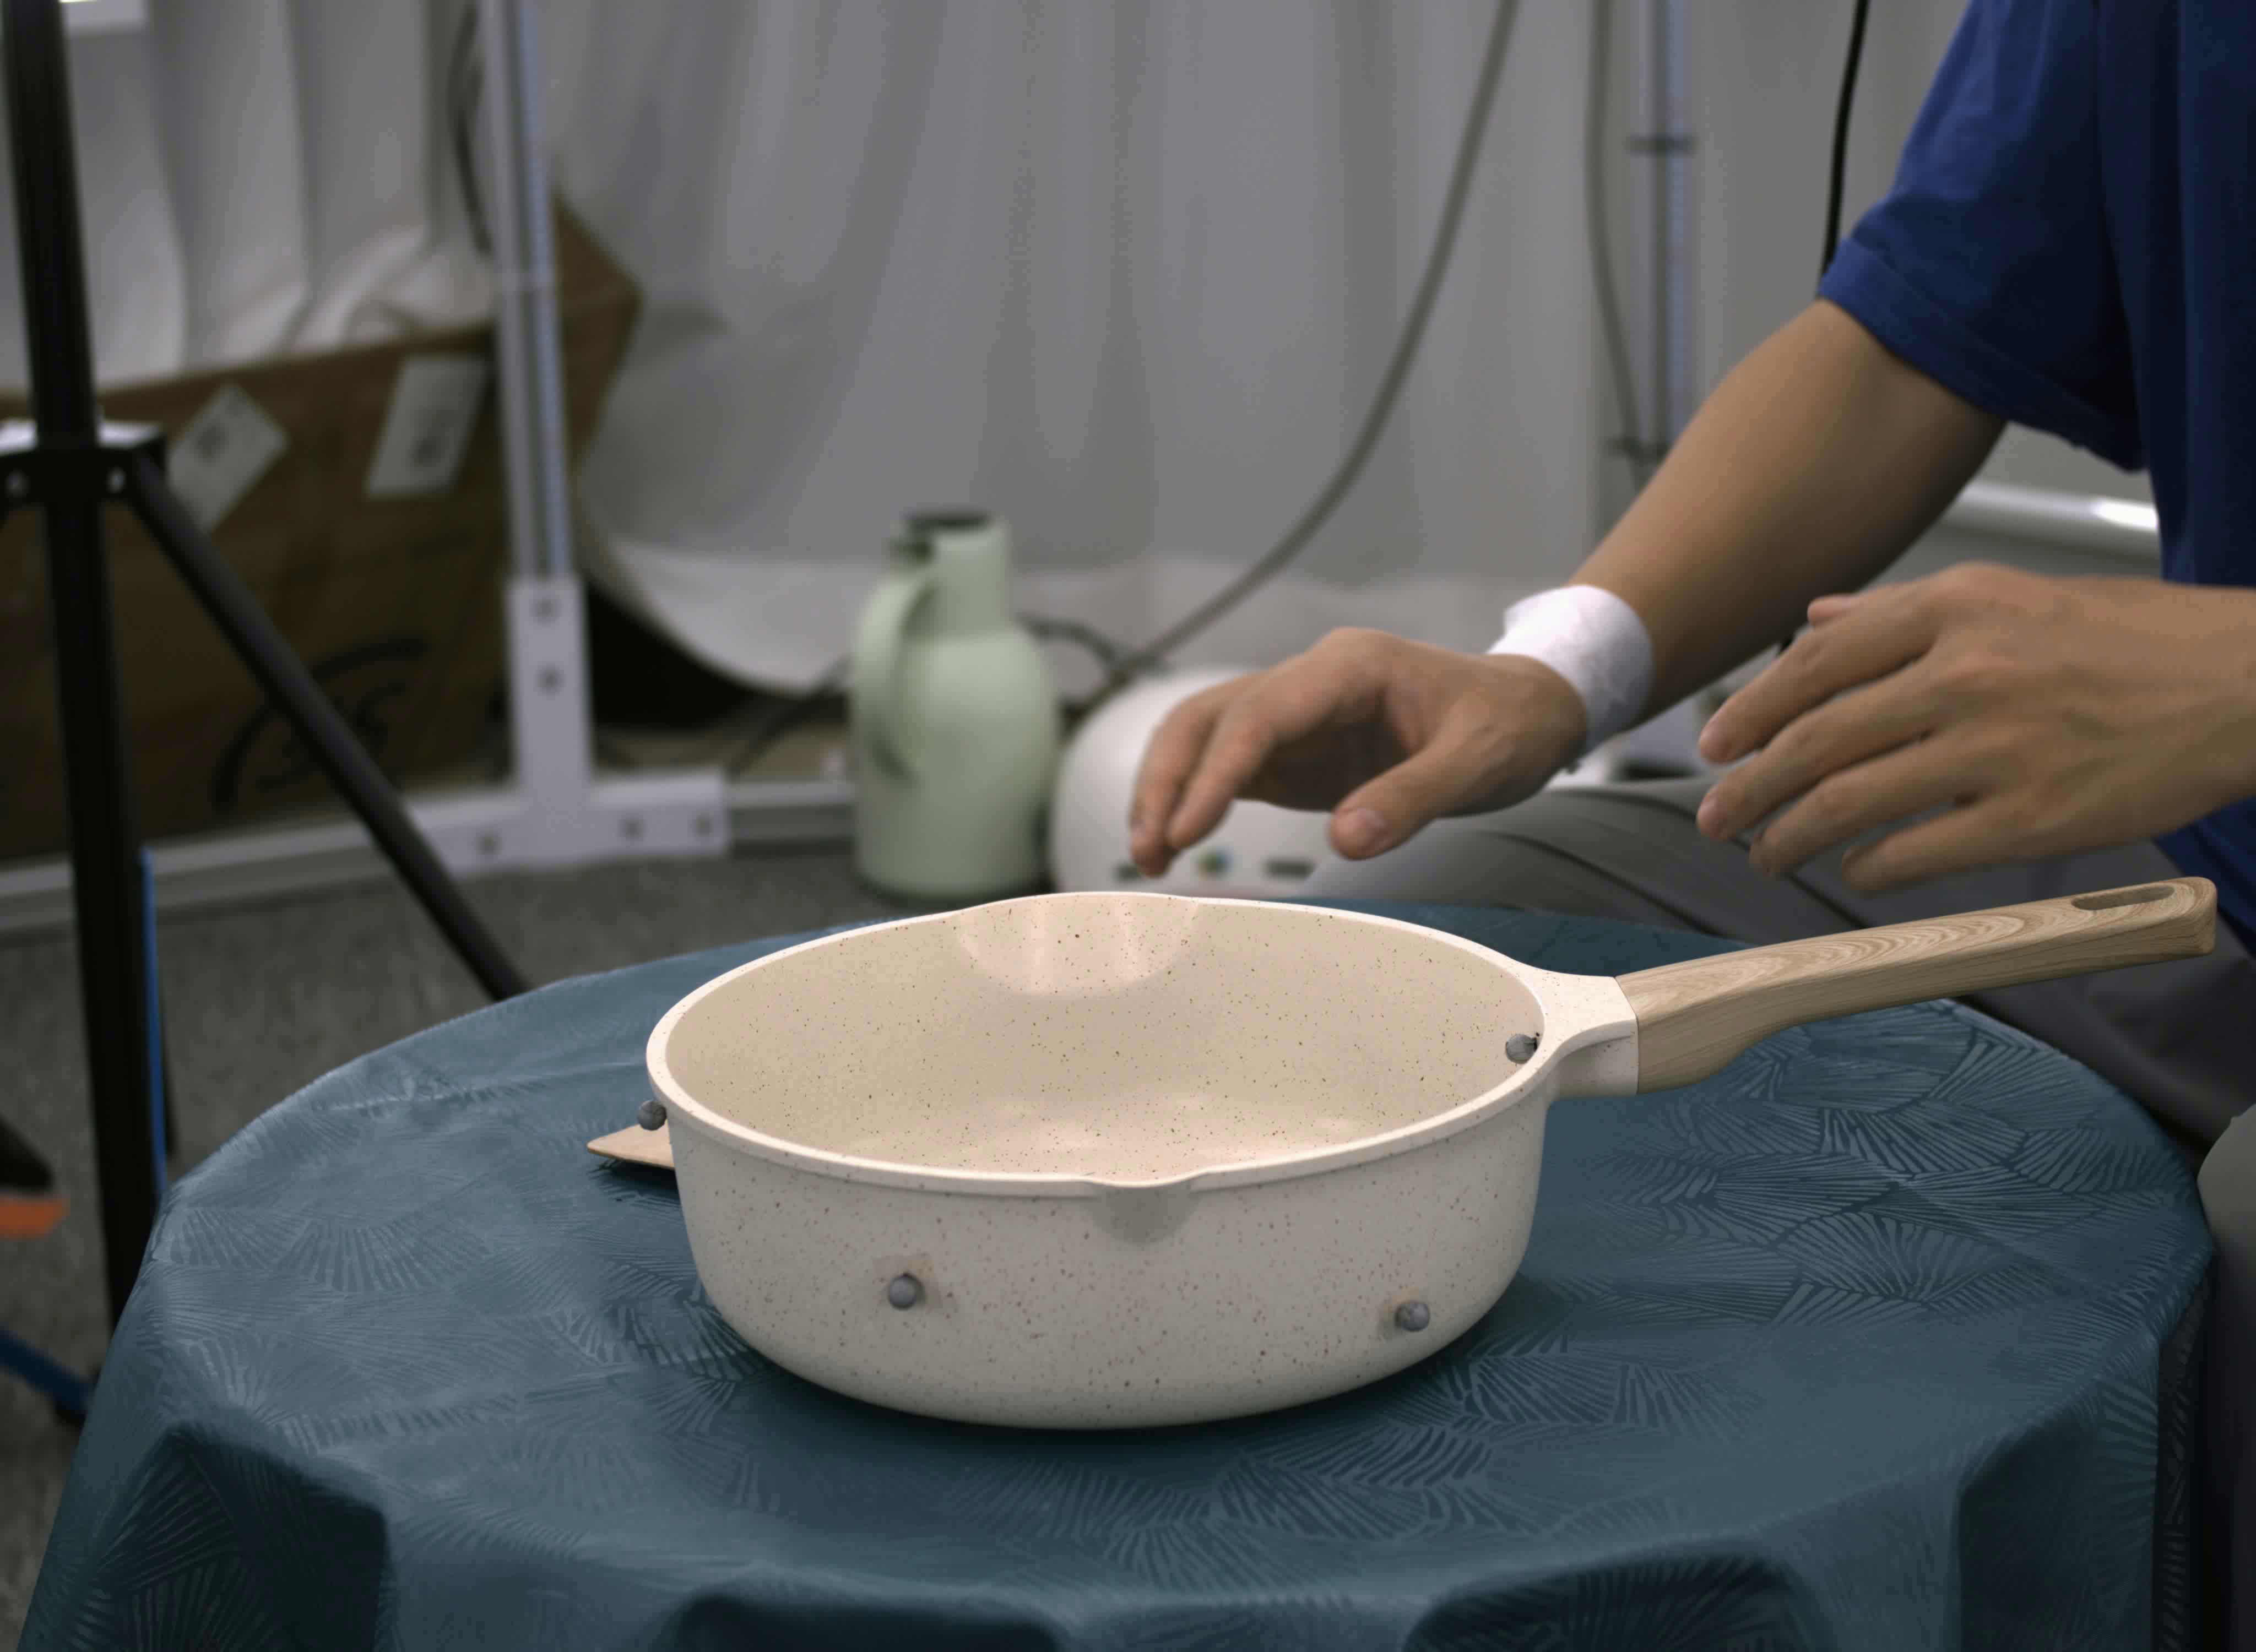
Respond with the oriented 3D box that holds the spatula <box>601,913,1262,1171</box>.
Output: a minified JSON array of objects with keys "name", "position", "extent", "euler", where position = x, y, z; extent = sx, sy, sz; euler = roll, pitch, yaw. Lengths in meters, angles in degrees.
[{"name":"spatula","position":[-0.049,0.068,1.689],"extent":[0.074,0.010,0.287],"euler":[8,19,36]}]

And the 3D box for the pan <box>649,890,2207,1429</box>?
[{"name":"pan","position":[0.087,0.082,1.455],"extent":[0.431,0.102,0.265],"euler":[-3,14,-4]}]
